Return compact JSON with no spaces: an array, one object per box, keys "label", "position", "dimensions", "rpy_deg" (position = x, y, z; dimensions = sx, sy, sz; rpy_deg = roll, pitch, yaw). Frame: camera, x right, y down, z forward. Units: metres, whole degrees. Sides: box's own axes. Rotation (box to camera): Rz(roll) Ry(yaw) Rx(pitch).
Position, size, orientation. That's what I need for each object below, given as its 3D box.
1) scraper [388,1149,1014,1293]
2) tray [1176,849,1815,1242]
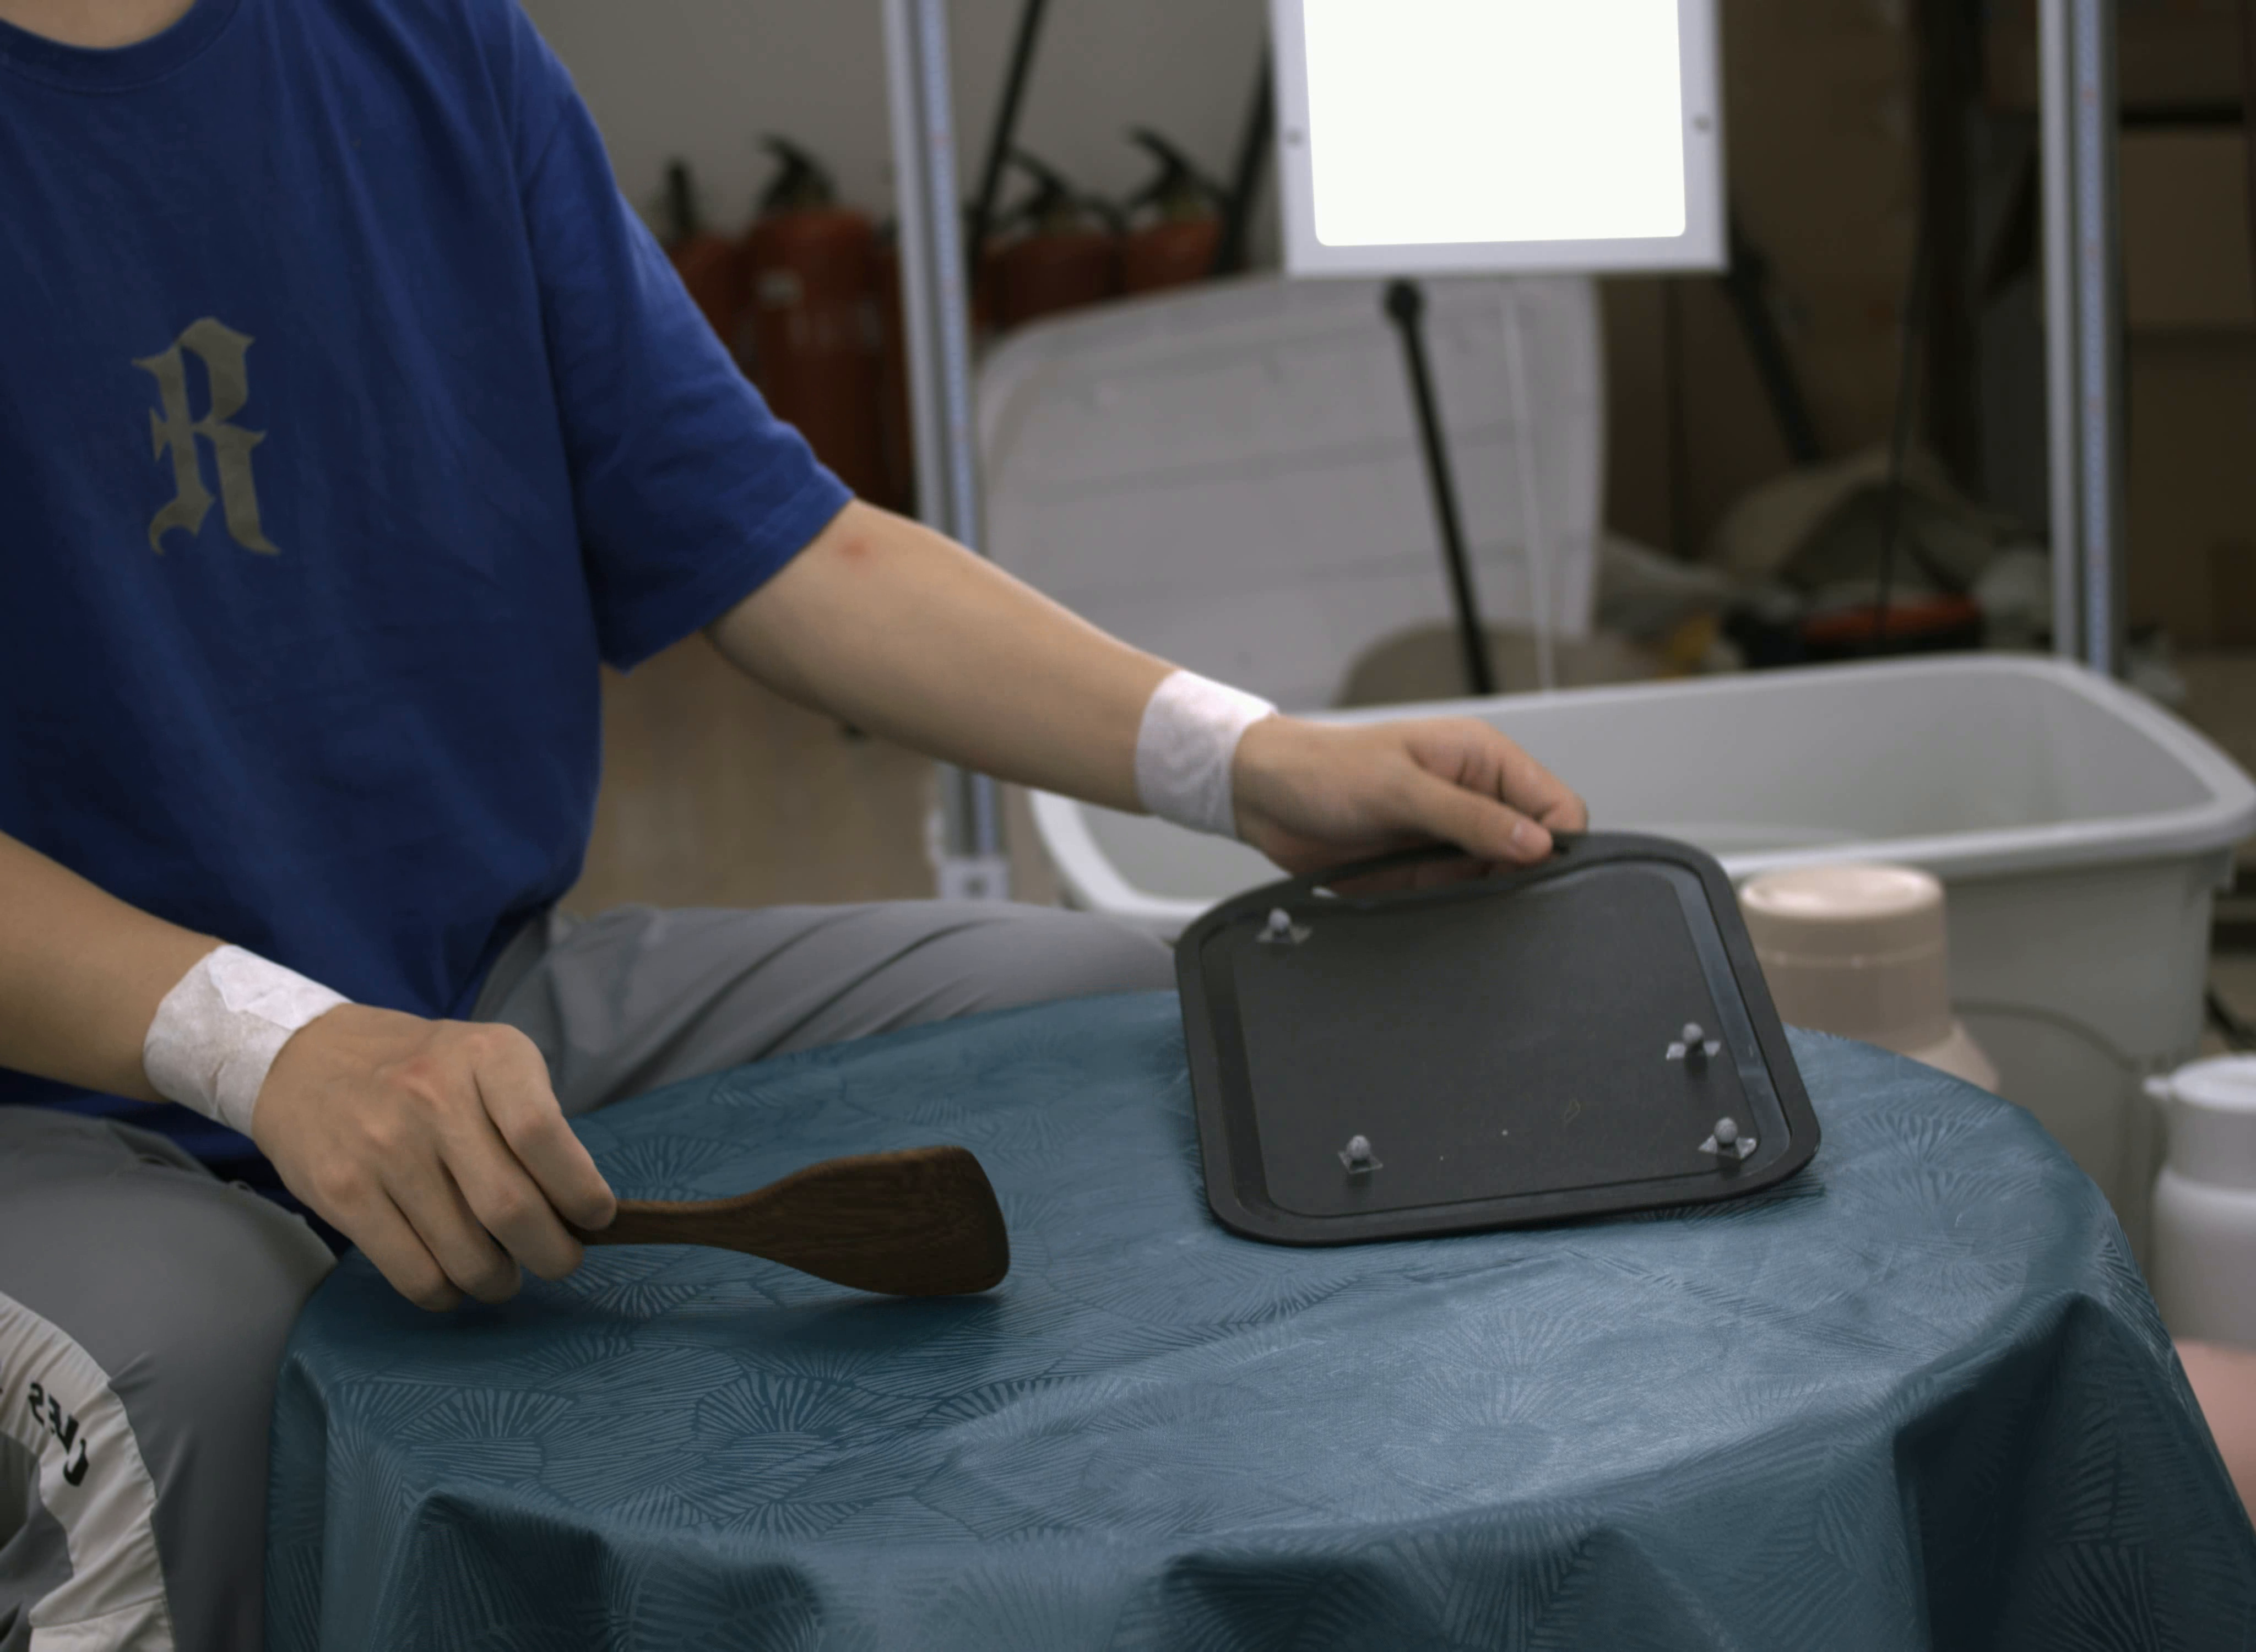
[{"label":"scraper","position":[-0.142,0.131,1.807],"dimensions":[0.213,0.075,0.011],"rpy_deg":[-1,52,17]},{"label":"tray","position":[0.125,0.070,1.966],"dimensions":[0.211,0.010,0.324],"rpy_deg":[-7,21,2]}]
